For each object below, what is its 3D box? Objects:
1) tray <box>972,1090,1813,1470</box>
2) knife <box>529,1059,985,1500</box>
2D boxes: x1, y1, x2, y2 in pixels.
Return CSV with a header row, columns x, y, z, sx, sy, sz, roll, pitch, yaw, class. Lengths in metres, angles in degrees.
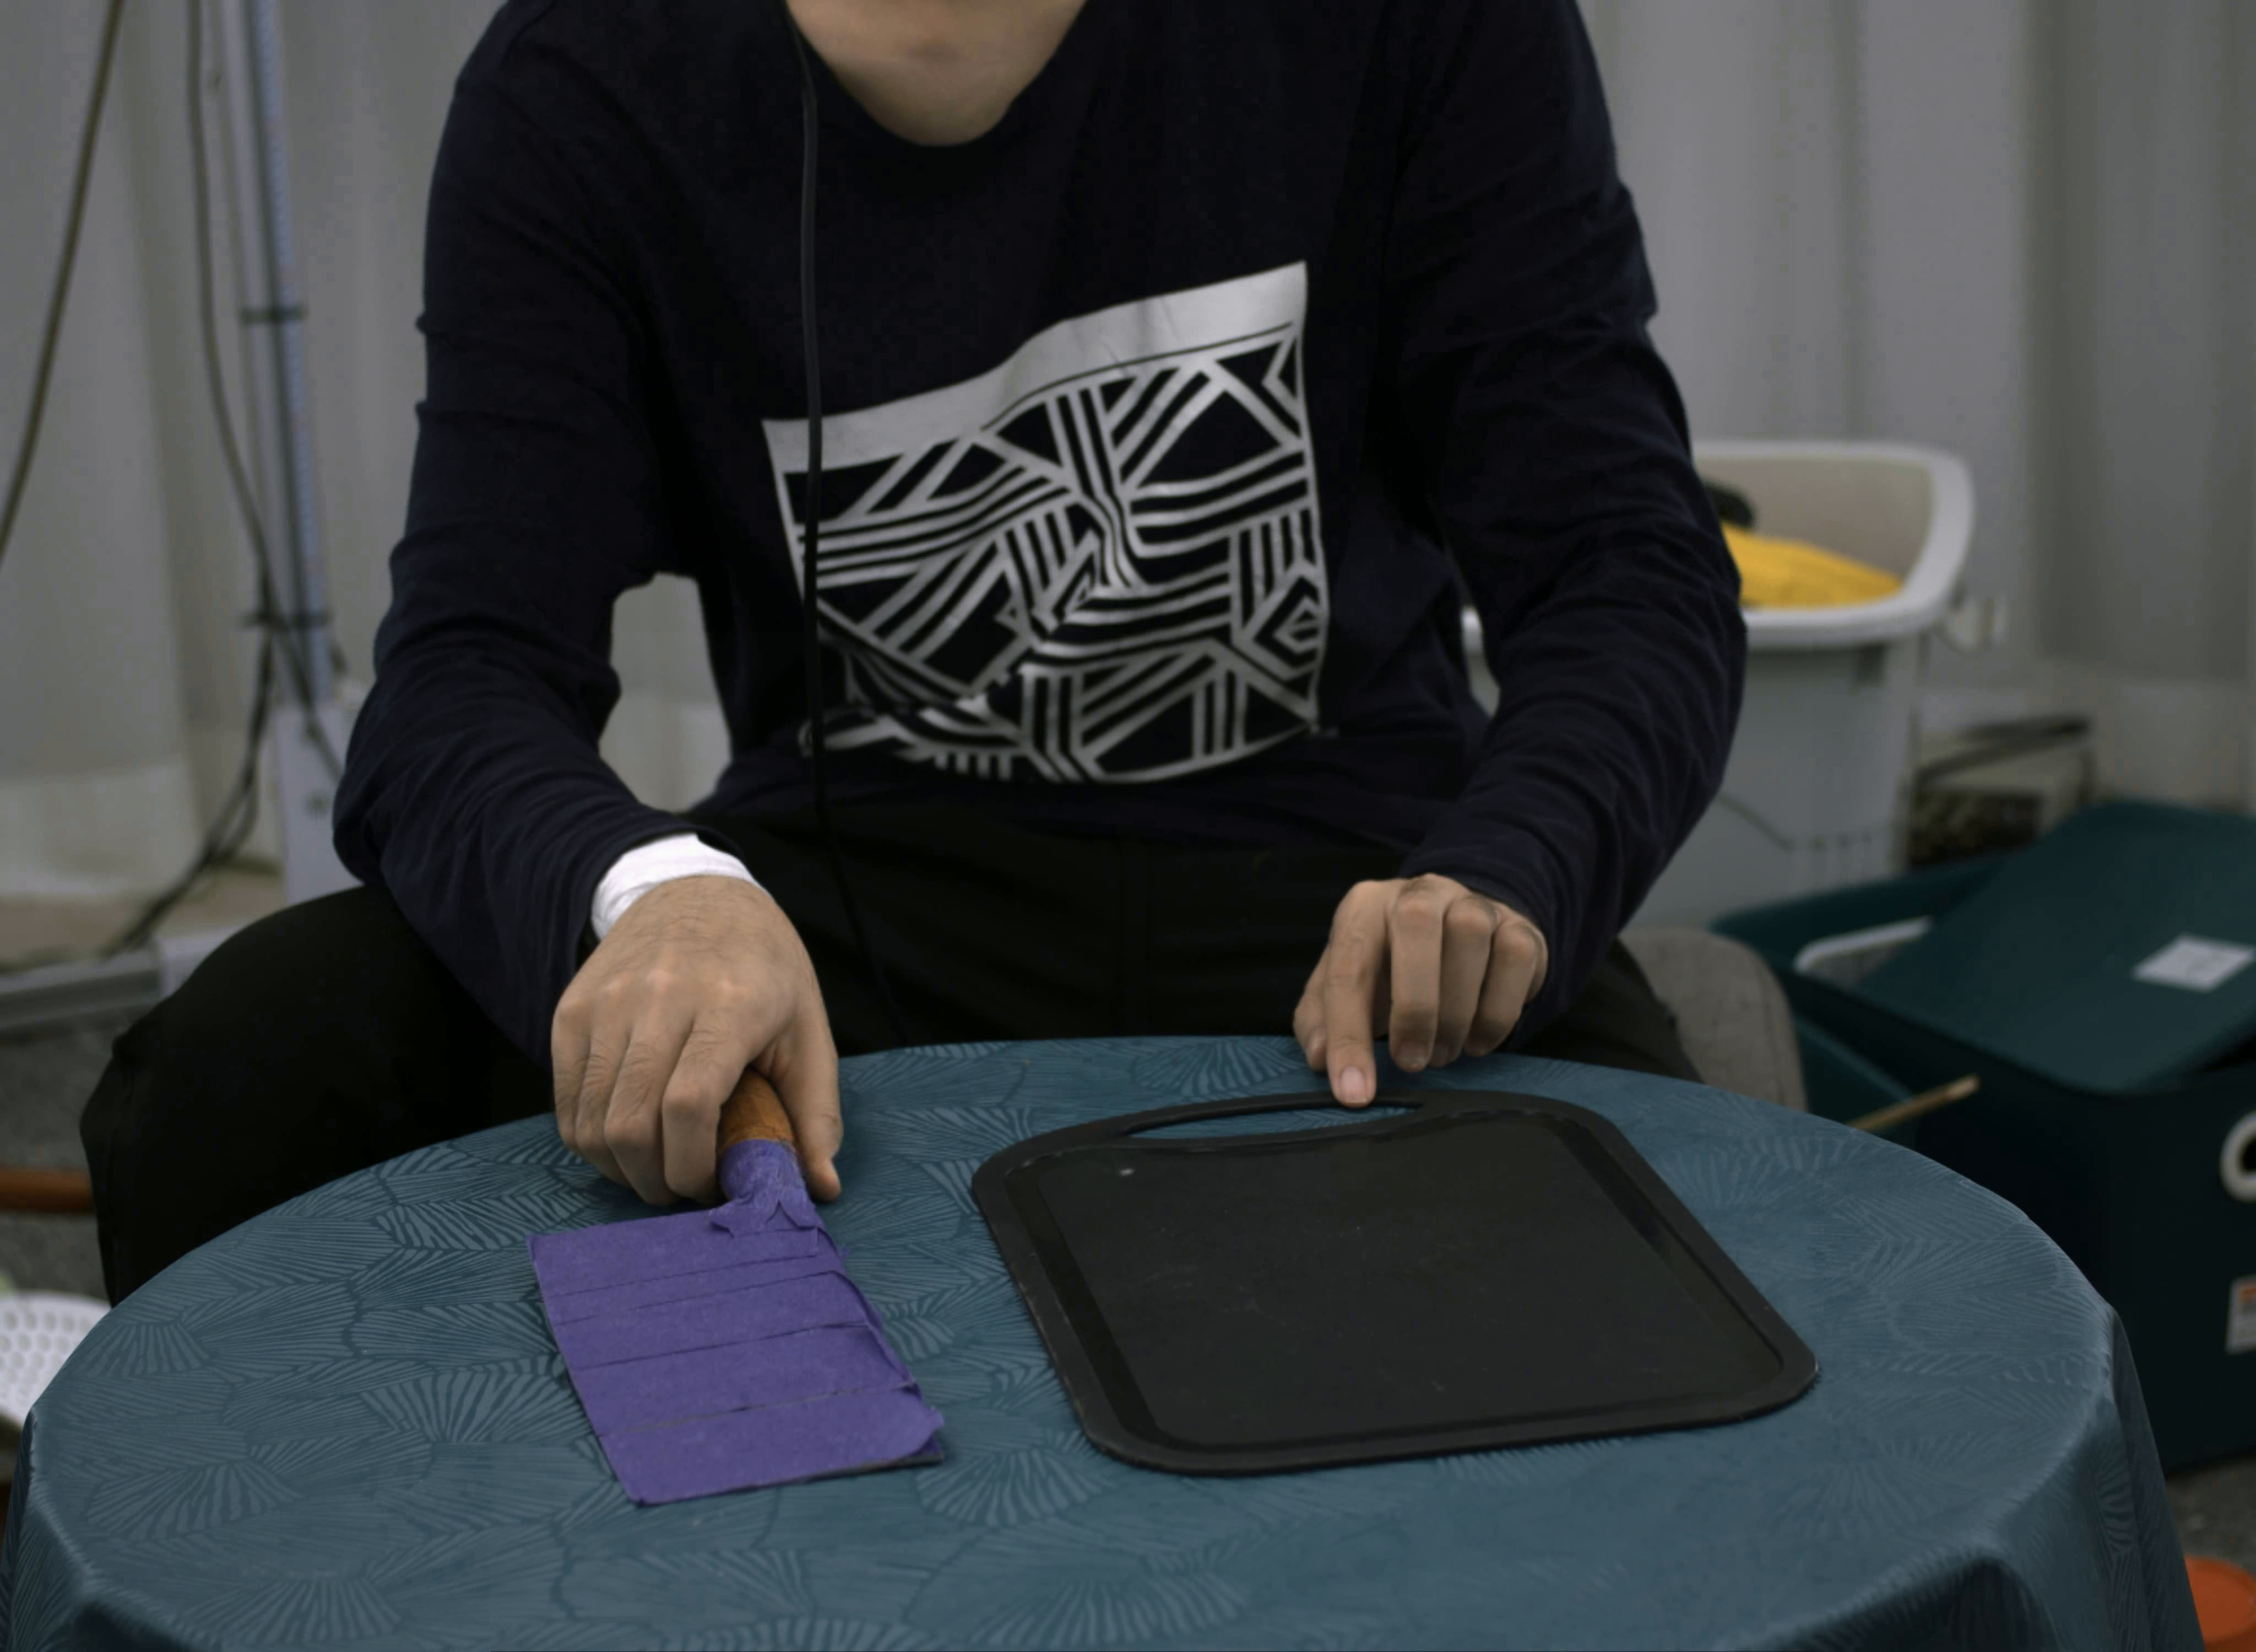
x,y,z,sx,sy,sz,roll,pitch,yaw,class
0.069,0.129,1.639,0.210,0.010,0.328,-5,15,-8,tray
-0.128,0.131,1.629,0.103,0.032,0.318,-7,15,-13,knife
